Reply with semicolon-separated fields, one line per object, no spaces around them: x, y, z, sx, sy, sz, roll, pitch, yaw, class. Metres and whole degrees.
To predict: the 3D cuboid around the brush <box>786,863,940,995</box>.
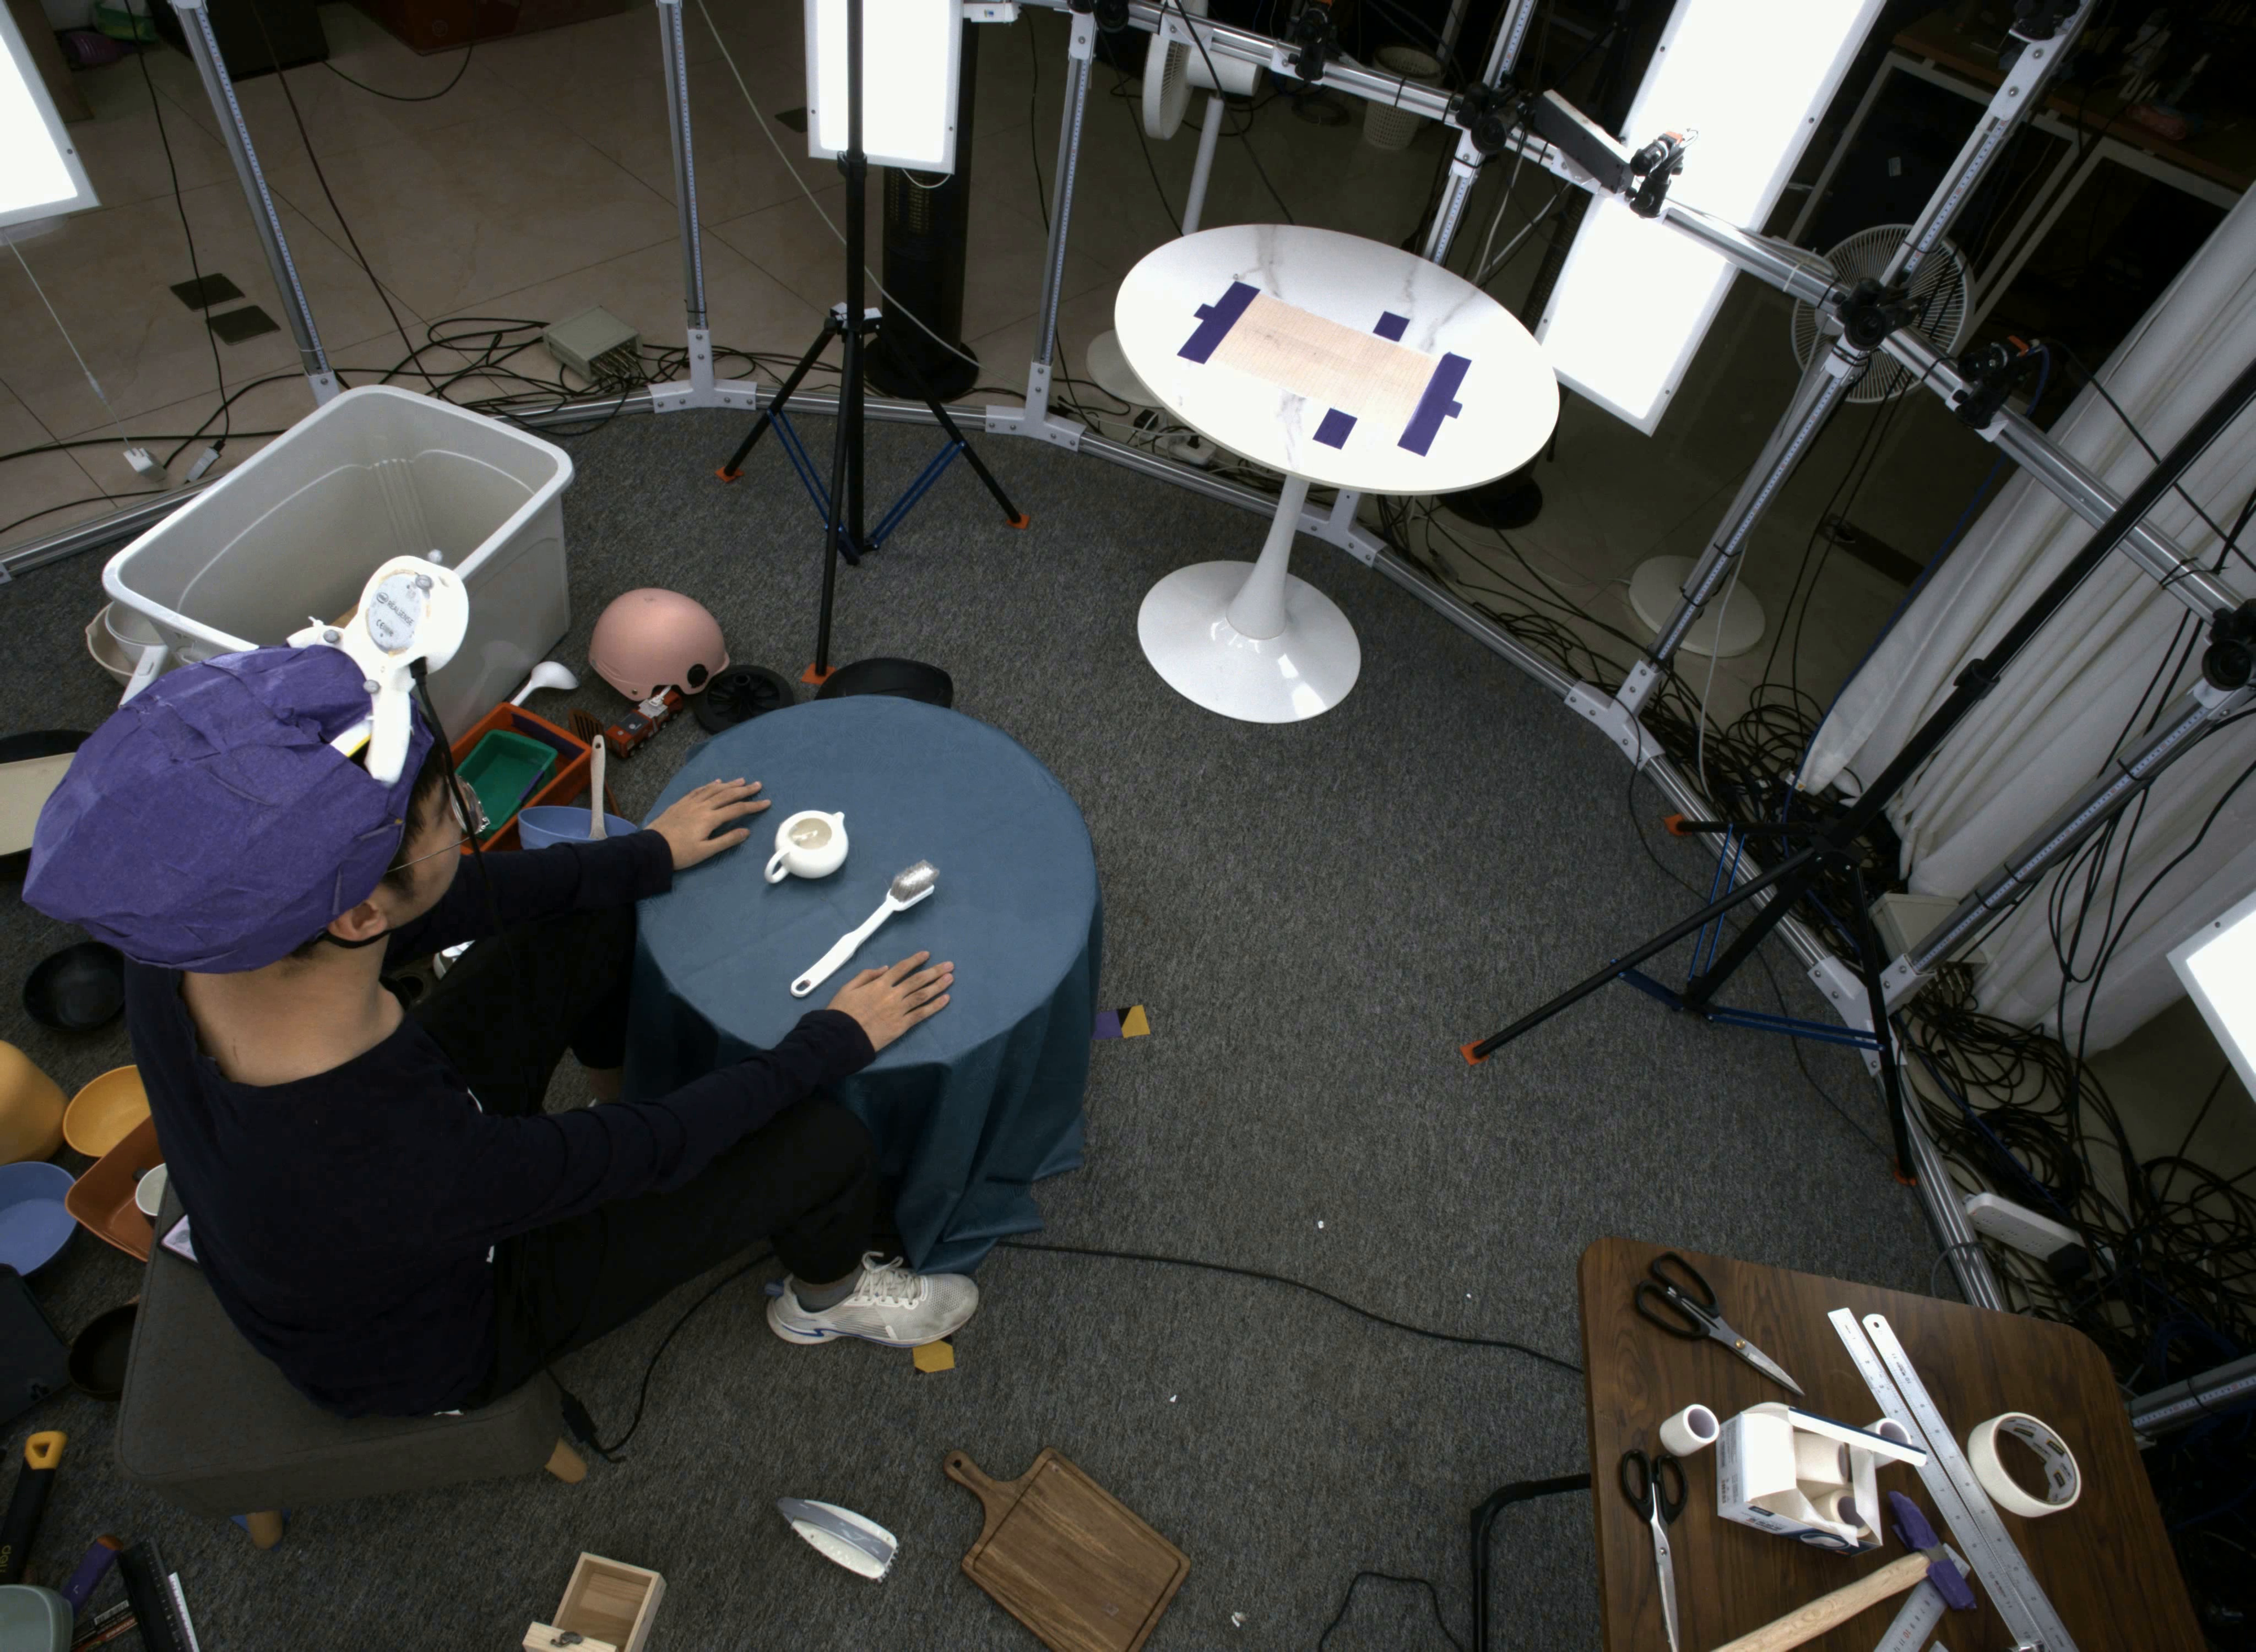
-0.331;0.123;1.627;0.034;0.051;0.244;41;55;14;brush

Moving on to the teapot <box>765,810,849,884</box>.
-0.416;0.030;1.672;0.092;0.057;0.127;39;57;12;teapot
